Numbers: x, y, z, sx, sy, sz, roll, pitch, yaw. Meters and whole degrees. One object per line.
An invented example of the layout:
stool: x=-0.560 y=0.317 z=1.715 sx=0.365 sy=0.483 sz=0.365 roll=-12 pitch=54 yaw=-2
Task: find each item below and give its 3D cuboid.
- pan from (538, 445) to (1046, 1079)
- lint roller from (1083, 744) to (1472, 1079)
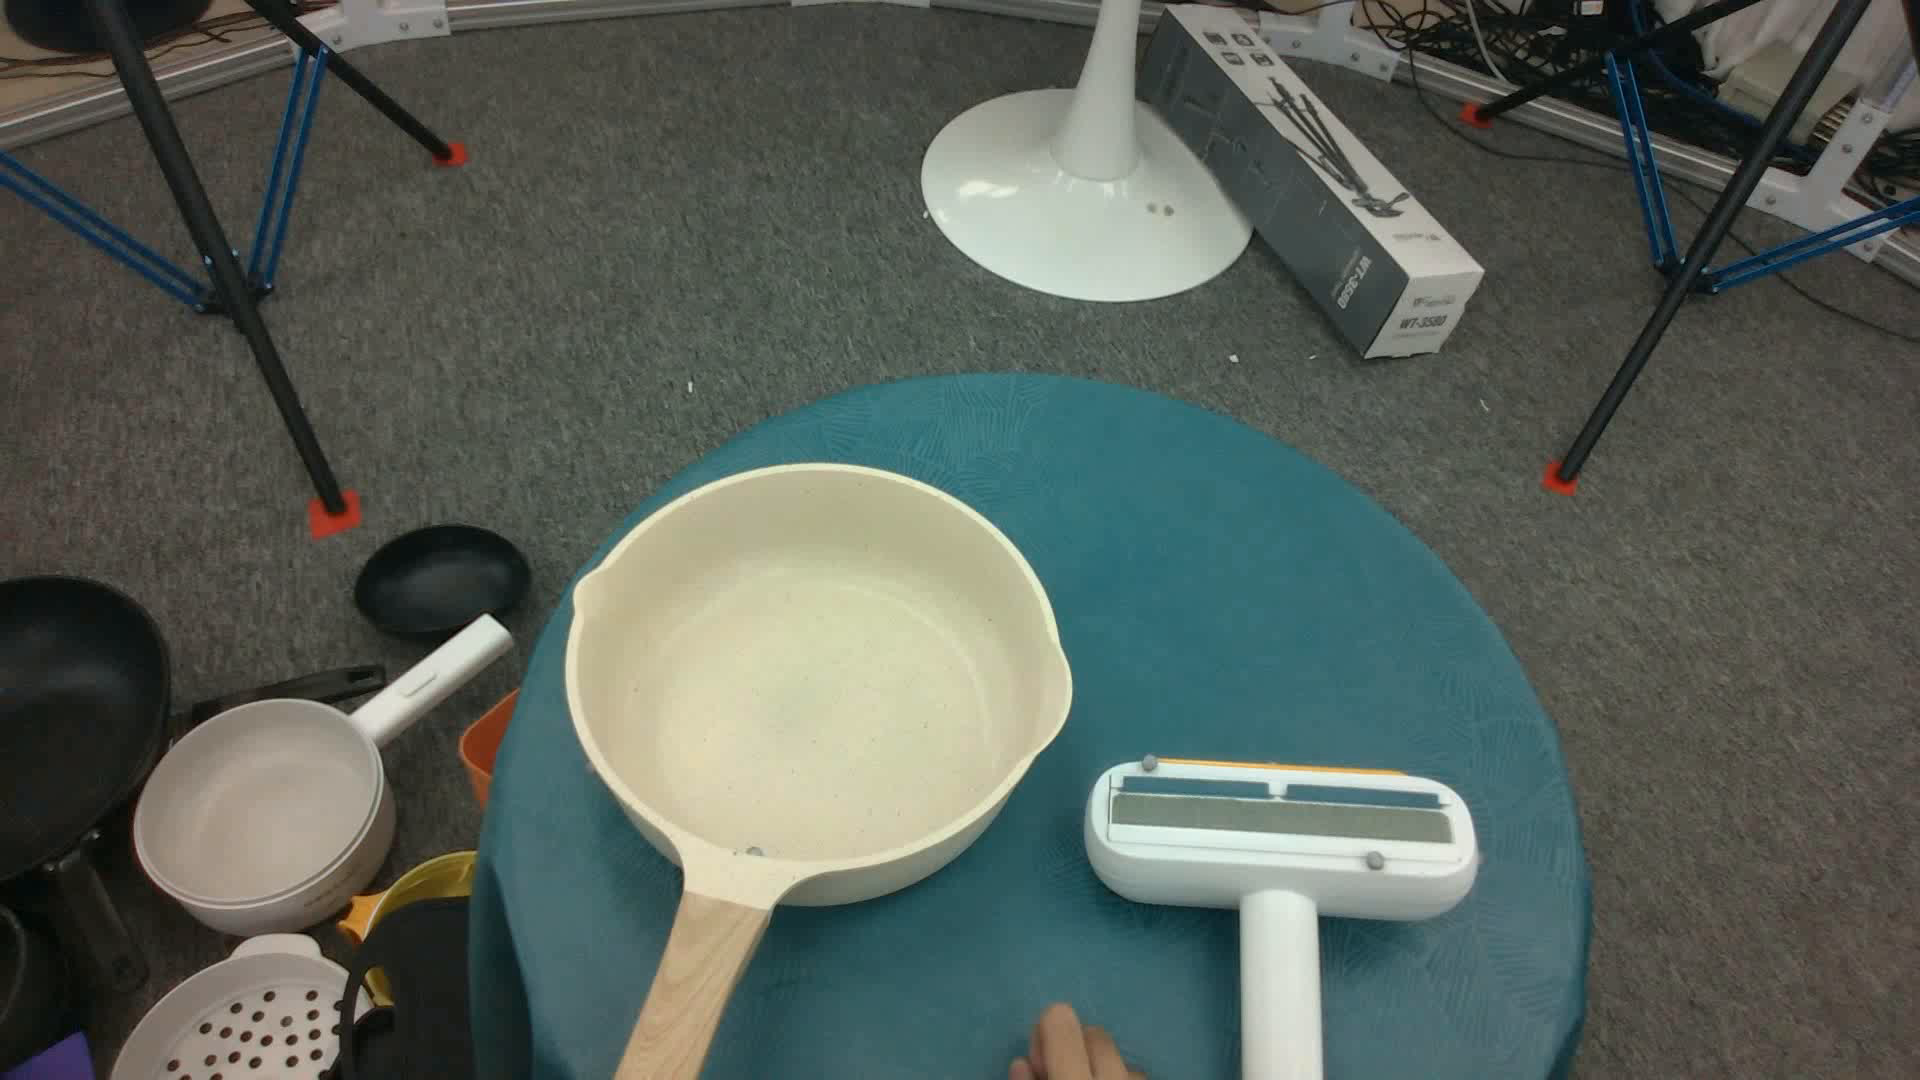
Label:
pan: x=-0.107 y=0.134 z=0.670 sx=0.263 sy=0.101 sz=0.437 roll=14 pitch=51 yaw=1
lint roller: x=0.150 y=0.197 z=0.674 sx=0.193 sy=0.074 sz=0.193 roll=7 pitch=52 yaw=5
